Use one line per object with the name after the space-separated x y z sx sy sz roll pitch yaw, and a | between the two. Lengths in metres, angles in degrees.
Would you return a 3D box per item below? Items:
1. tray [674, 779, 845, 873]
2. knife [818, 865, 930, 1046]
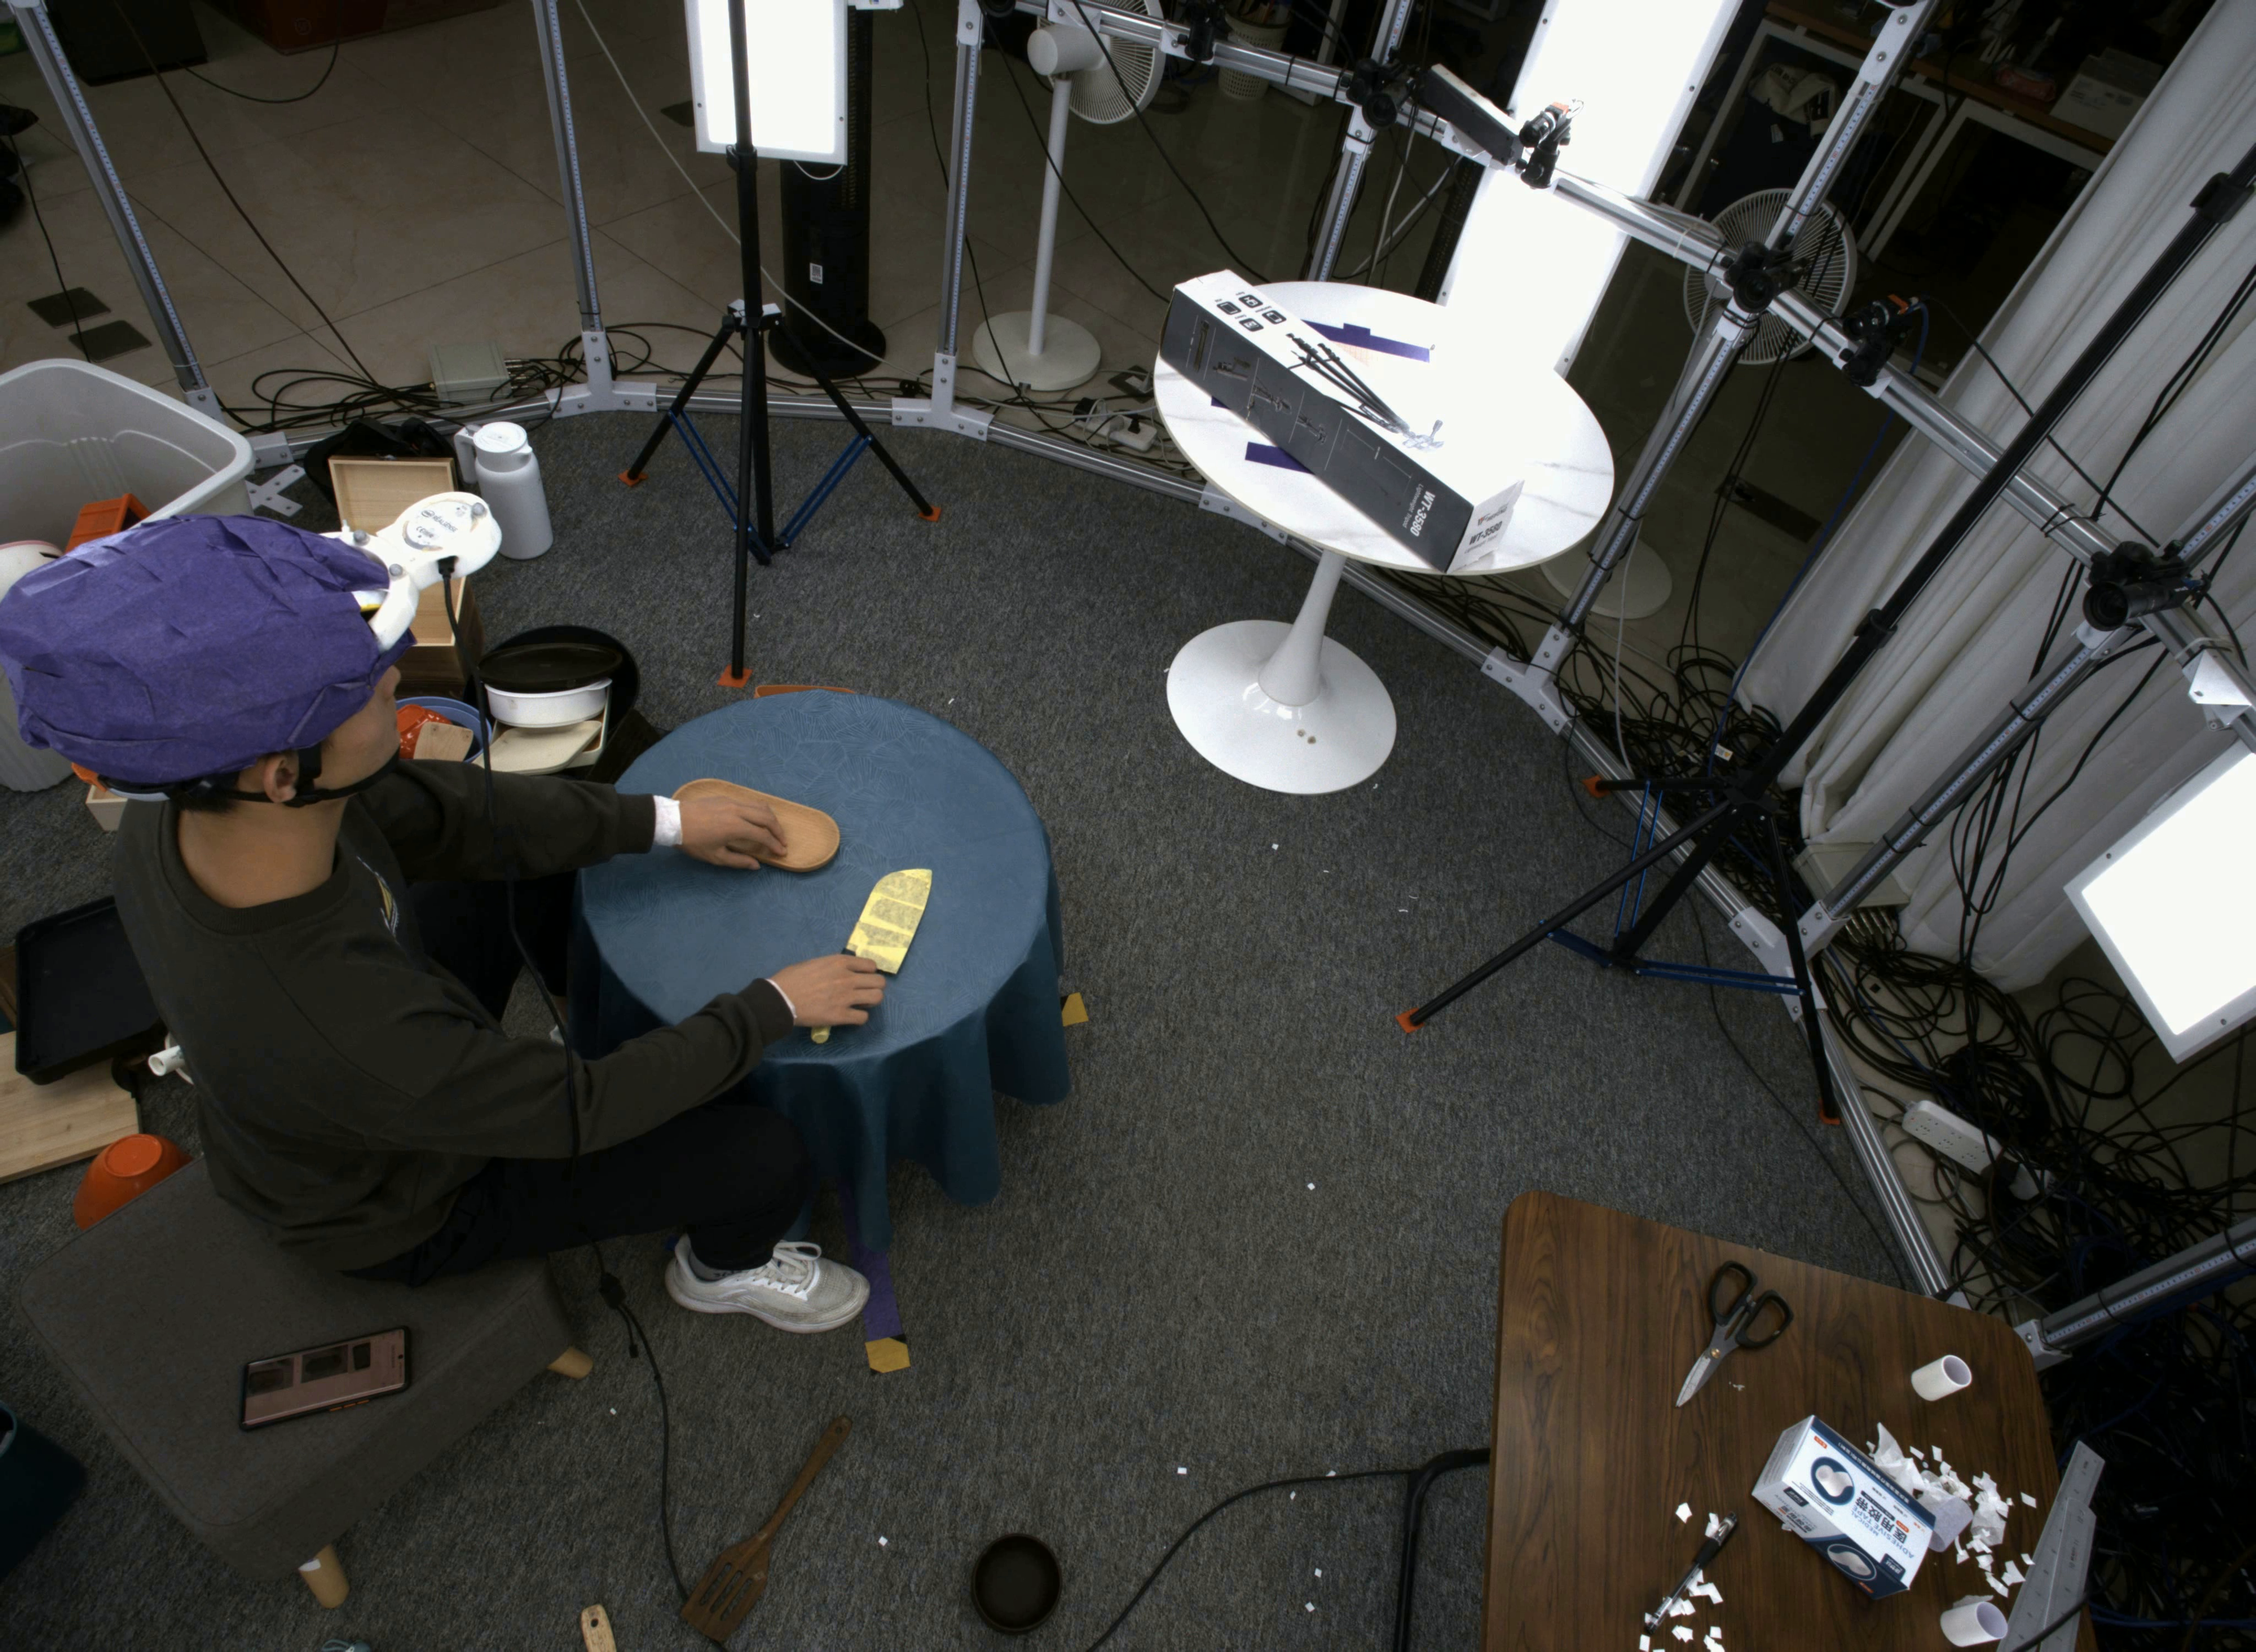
-0.488 -0.001 1.709 0.230 0.020 0.100 18 54 -3 | tray
-0.317 0.155 1.638 0.080 0.028 0.286 18 51 2 | knife
